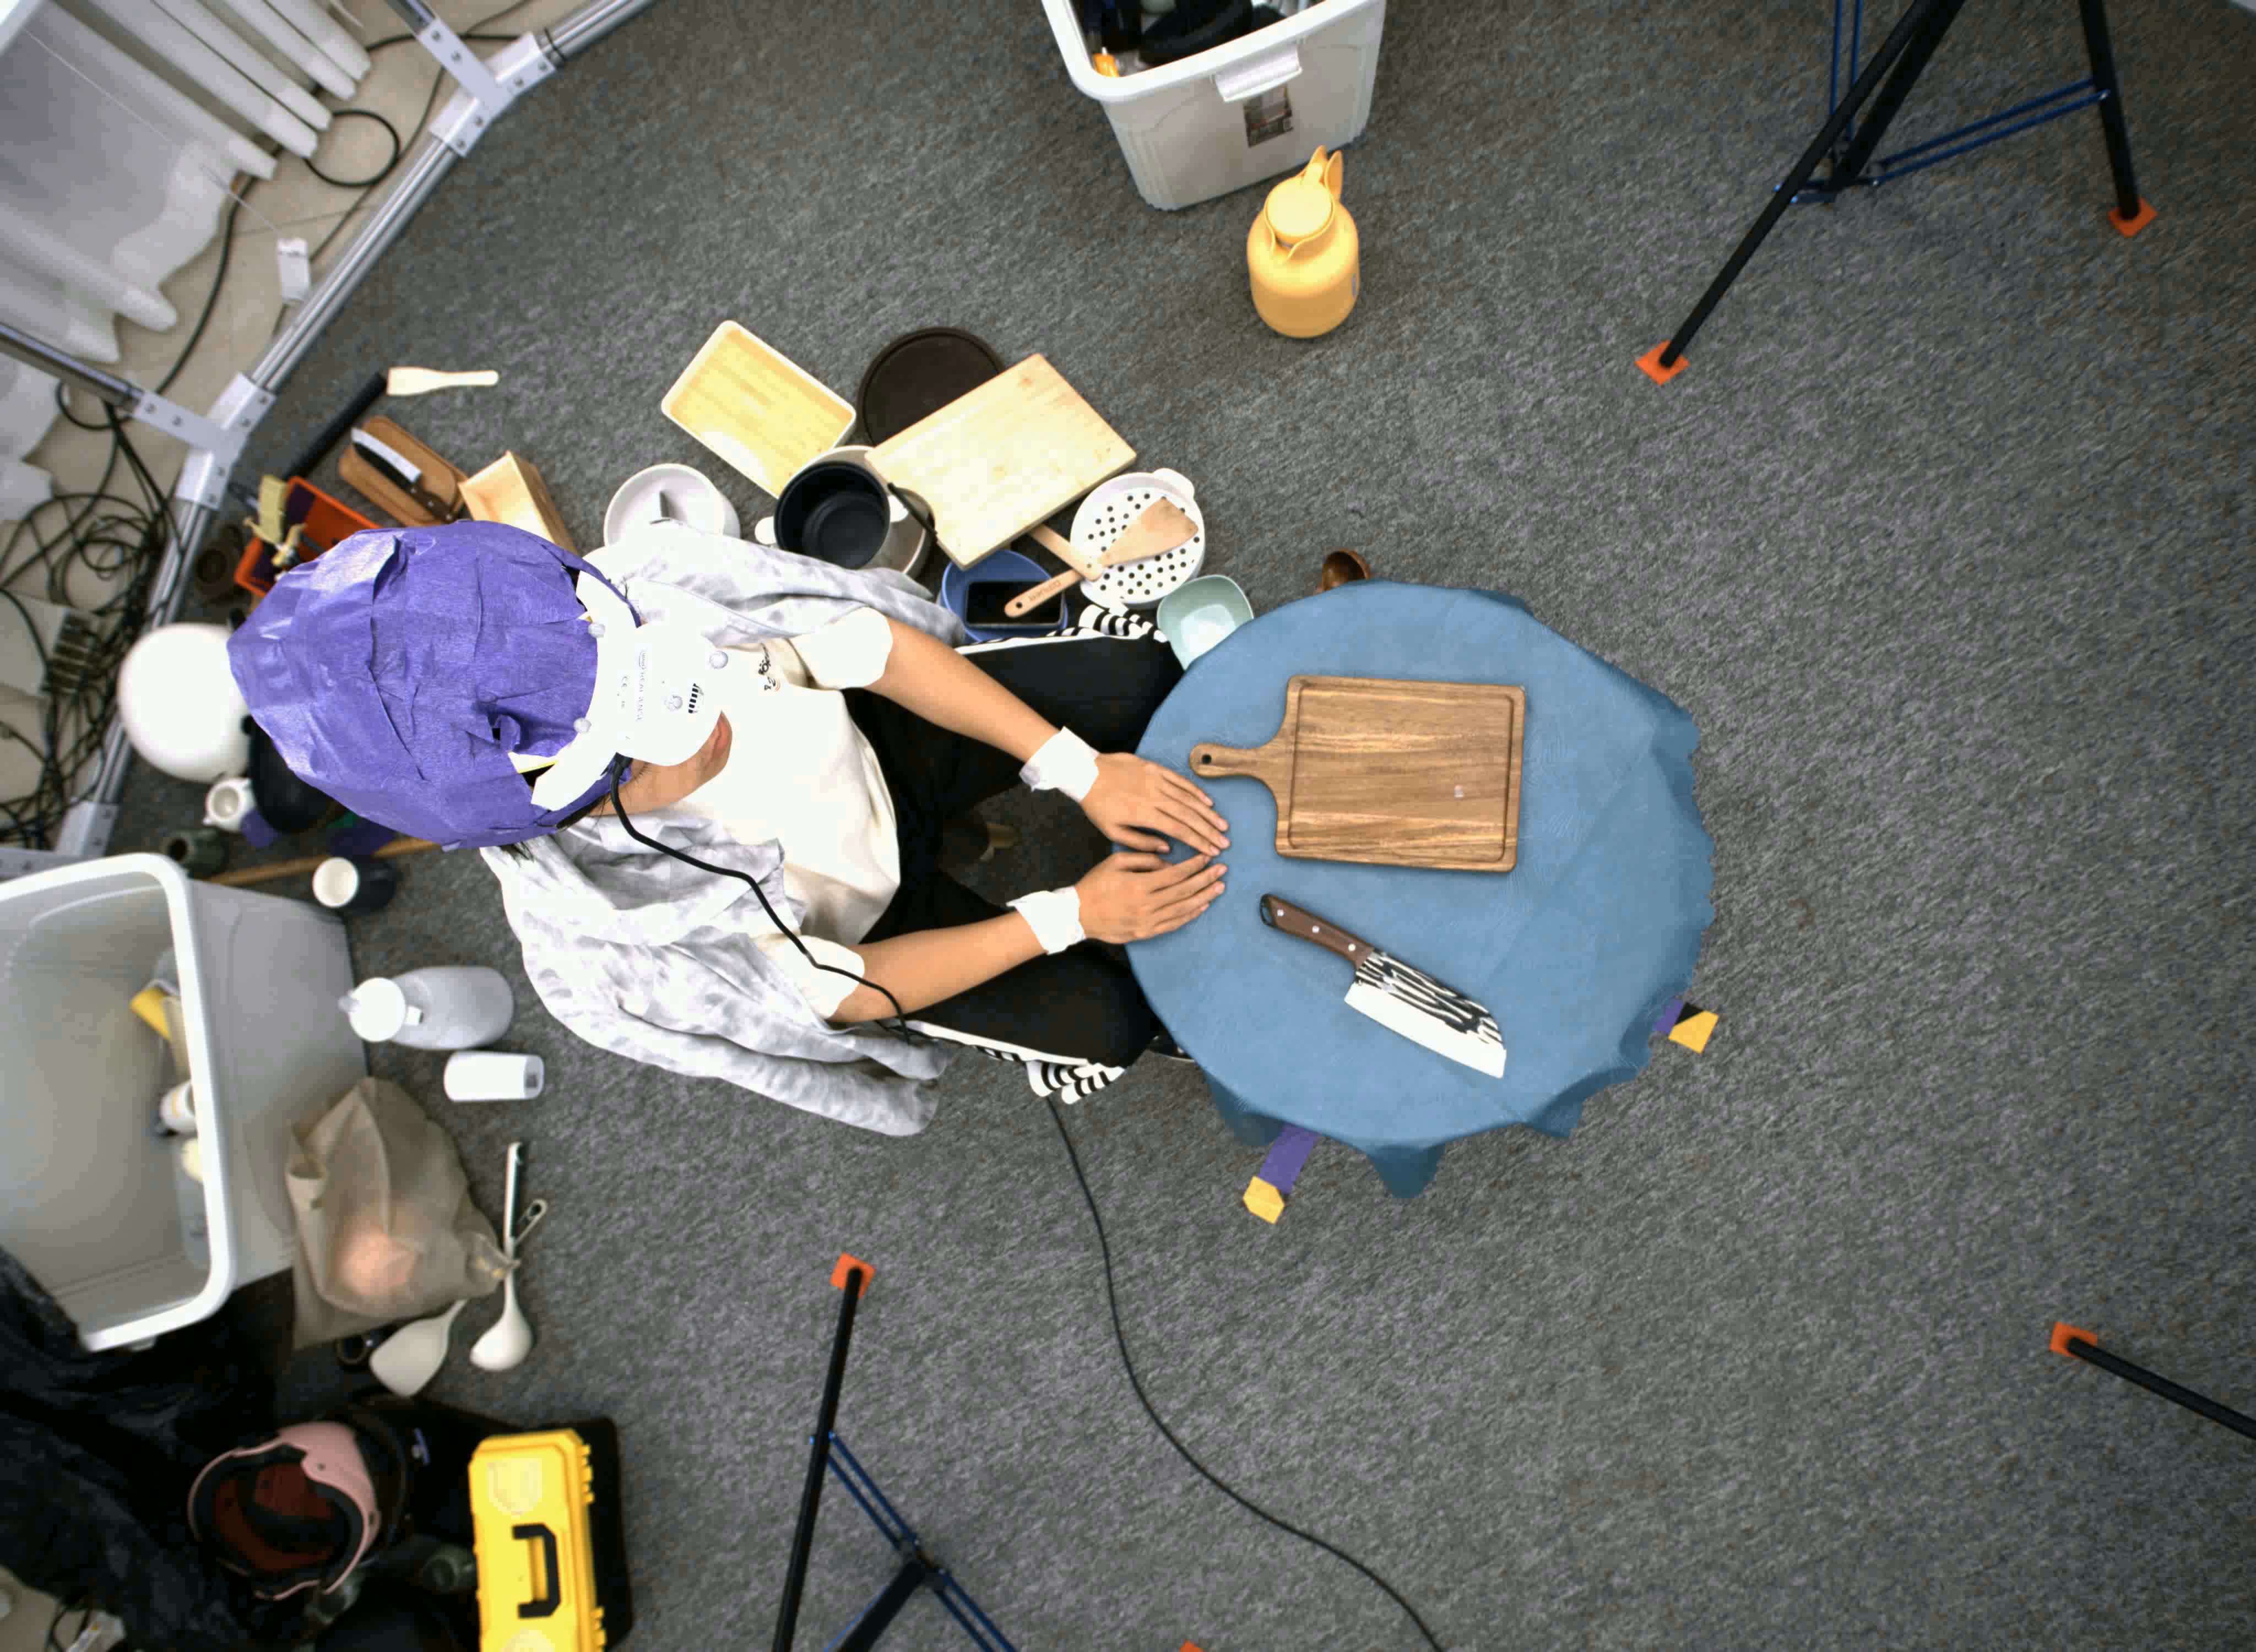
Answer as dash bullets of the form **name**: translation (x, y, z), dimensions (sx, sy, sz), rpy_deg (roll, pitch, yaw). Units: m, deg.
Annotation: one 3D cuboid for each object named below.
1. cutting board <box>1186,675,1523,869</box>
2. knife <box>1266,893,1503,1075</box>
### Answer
- **cutting board**: translation (0.237, -0.063, 1.461), dimensions (0.353, 0.023, 0.200), rpy_deg (3, 87, 11)
- **knife**: translation (0.265, 0.164, 1.444), dimensions (0.299, 0.024, 0.068), rpy_deg (29, 95, 8)
